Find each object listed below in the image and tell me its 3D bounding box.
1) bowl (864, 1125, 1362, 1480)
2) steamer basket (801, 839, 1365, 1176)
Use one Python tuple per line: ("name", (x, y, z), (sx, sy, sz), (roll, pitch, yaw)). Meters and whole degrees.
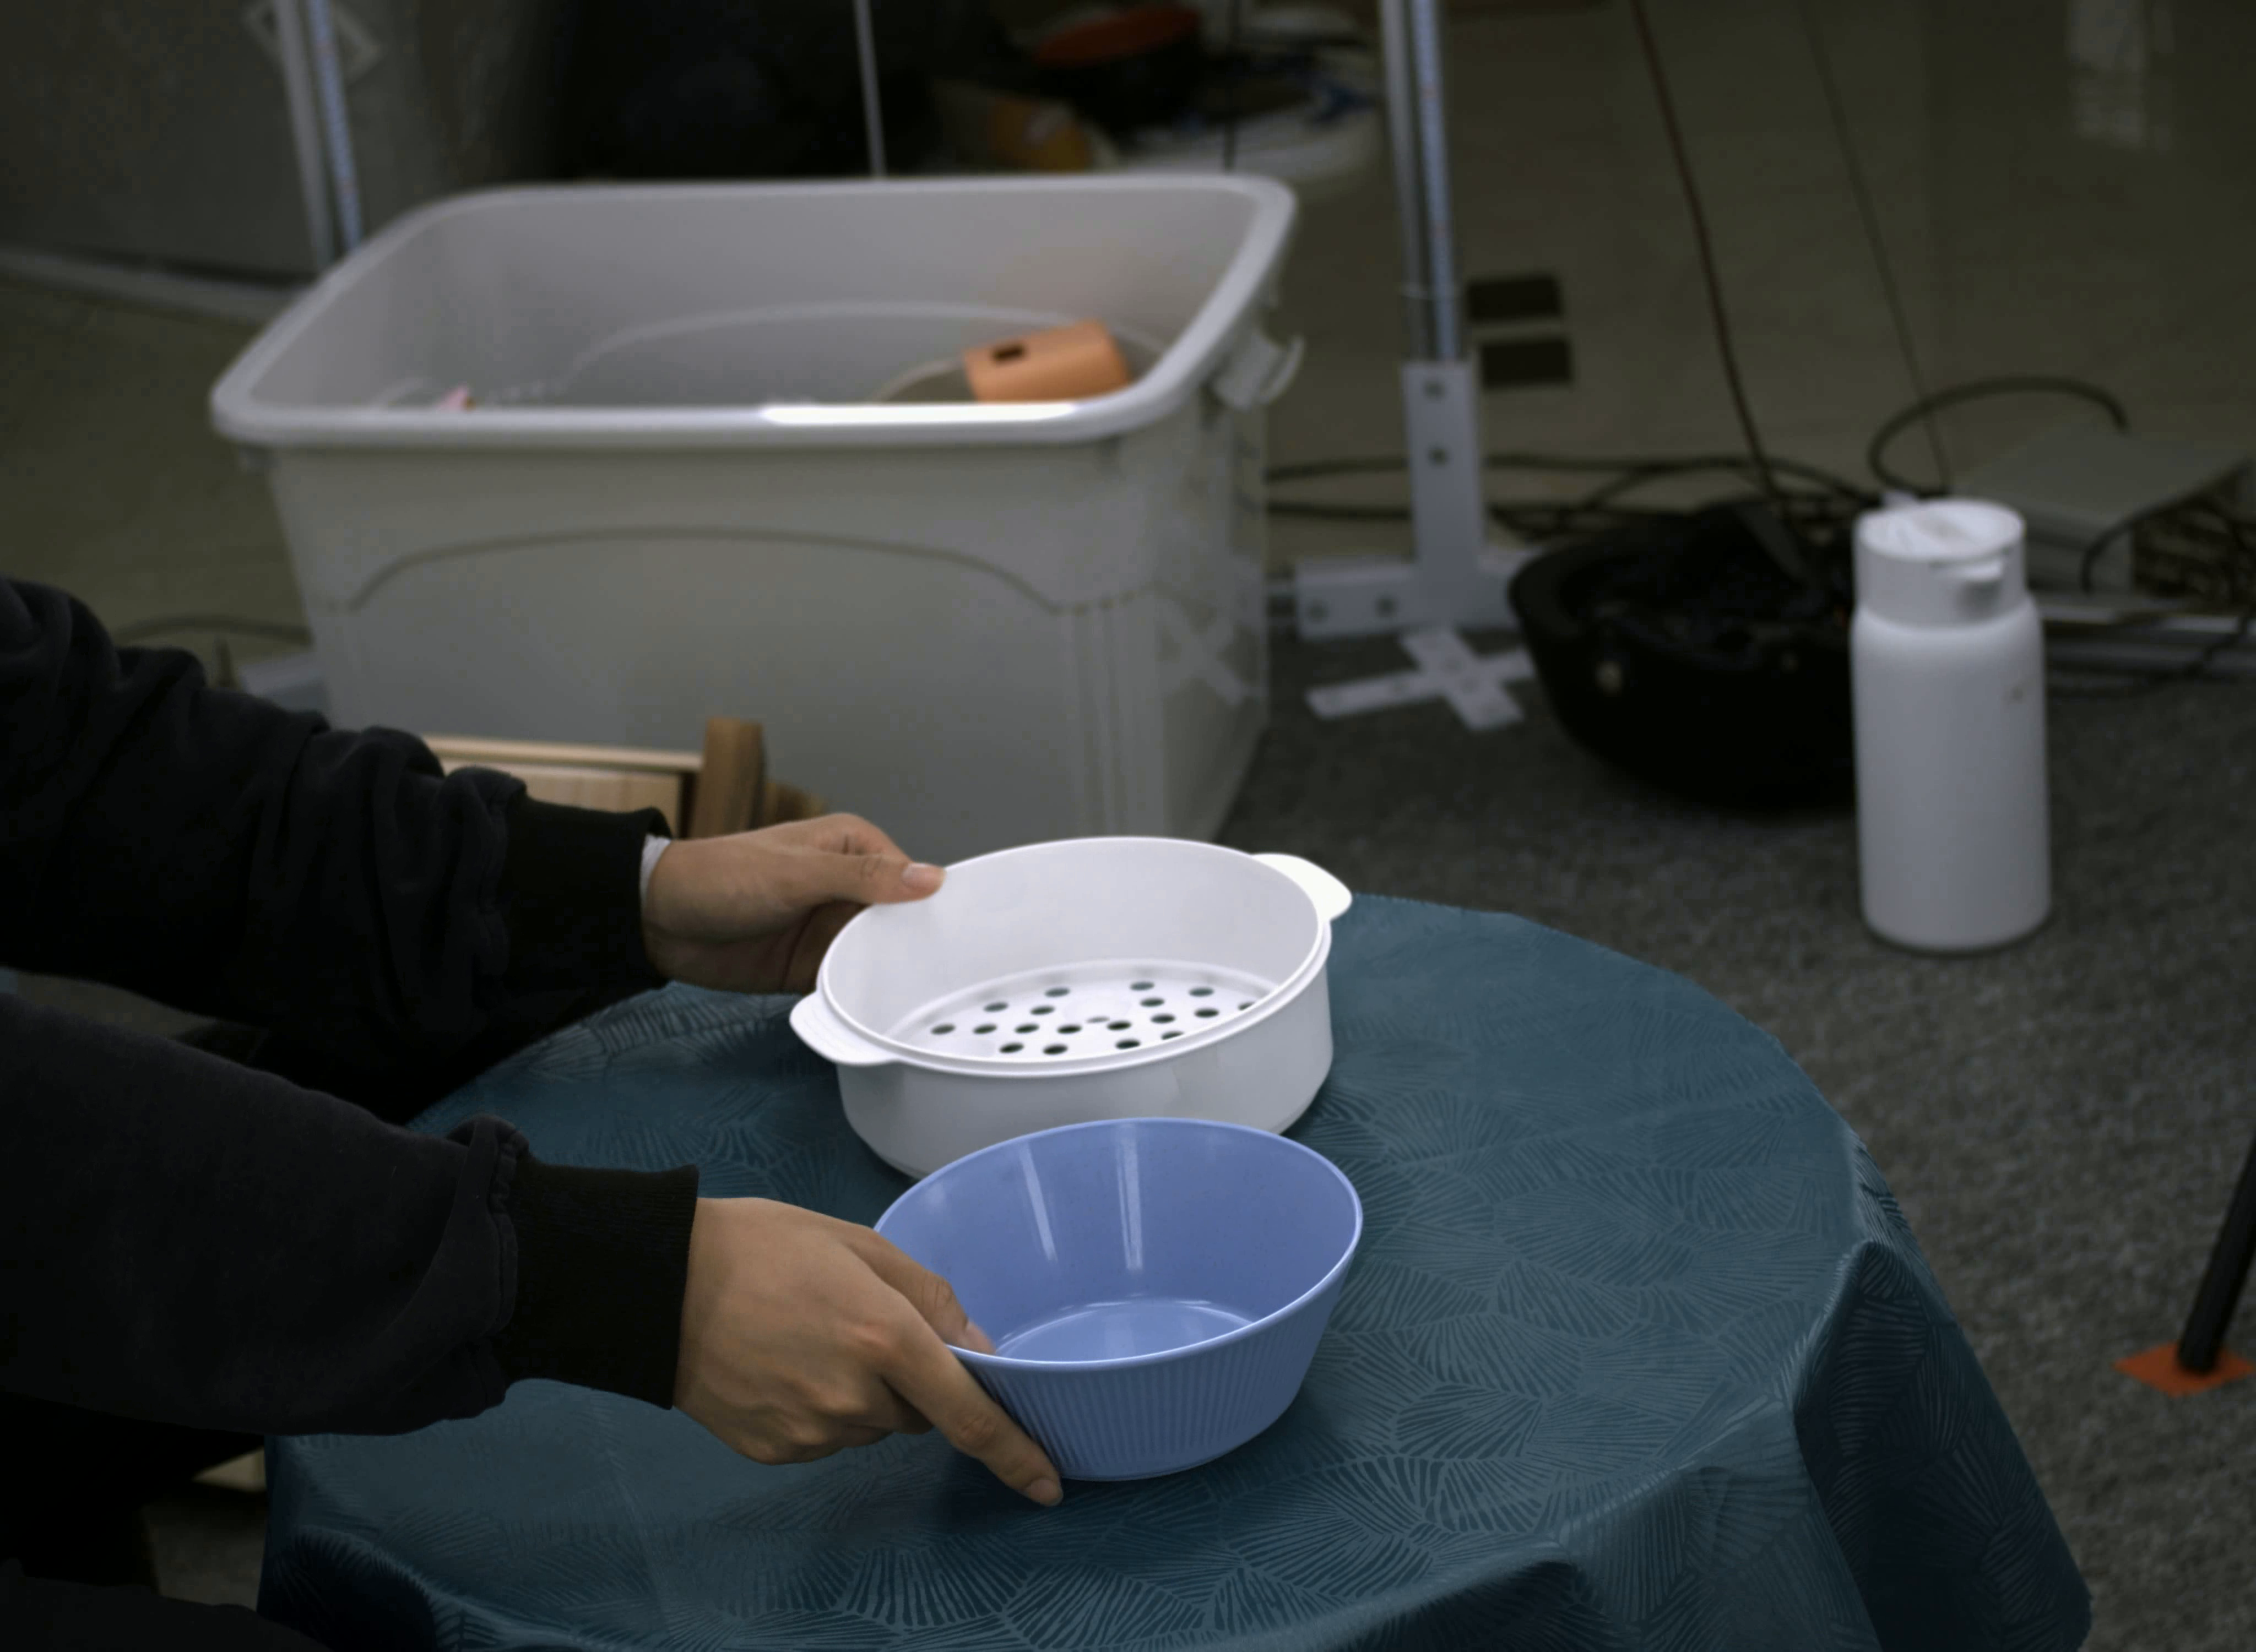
("bowl", (-0.002, 0.173, 1.995), (0.176, 0.071, 0.173), (-5, 24, 2))
("steamer basket", (-0.014, 0.075, 2.212), (0.229, 0.070, 0.199), (-15, 26, -24))
